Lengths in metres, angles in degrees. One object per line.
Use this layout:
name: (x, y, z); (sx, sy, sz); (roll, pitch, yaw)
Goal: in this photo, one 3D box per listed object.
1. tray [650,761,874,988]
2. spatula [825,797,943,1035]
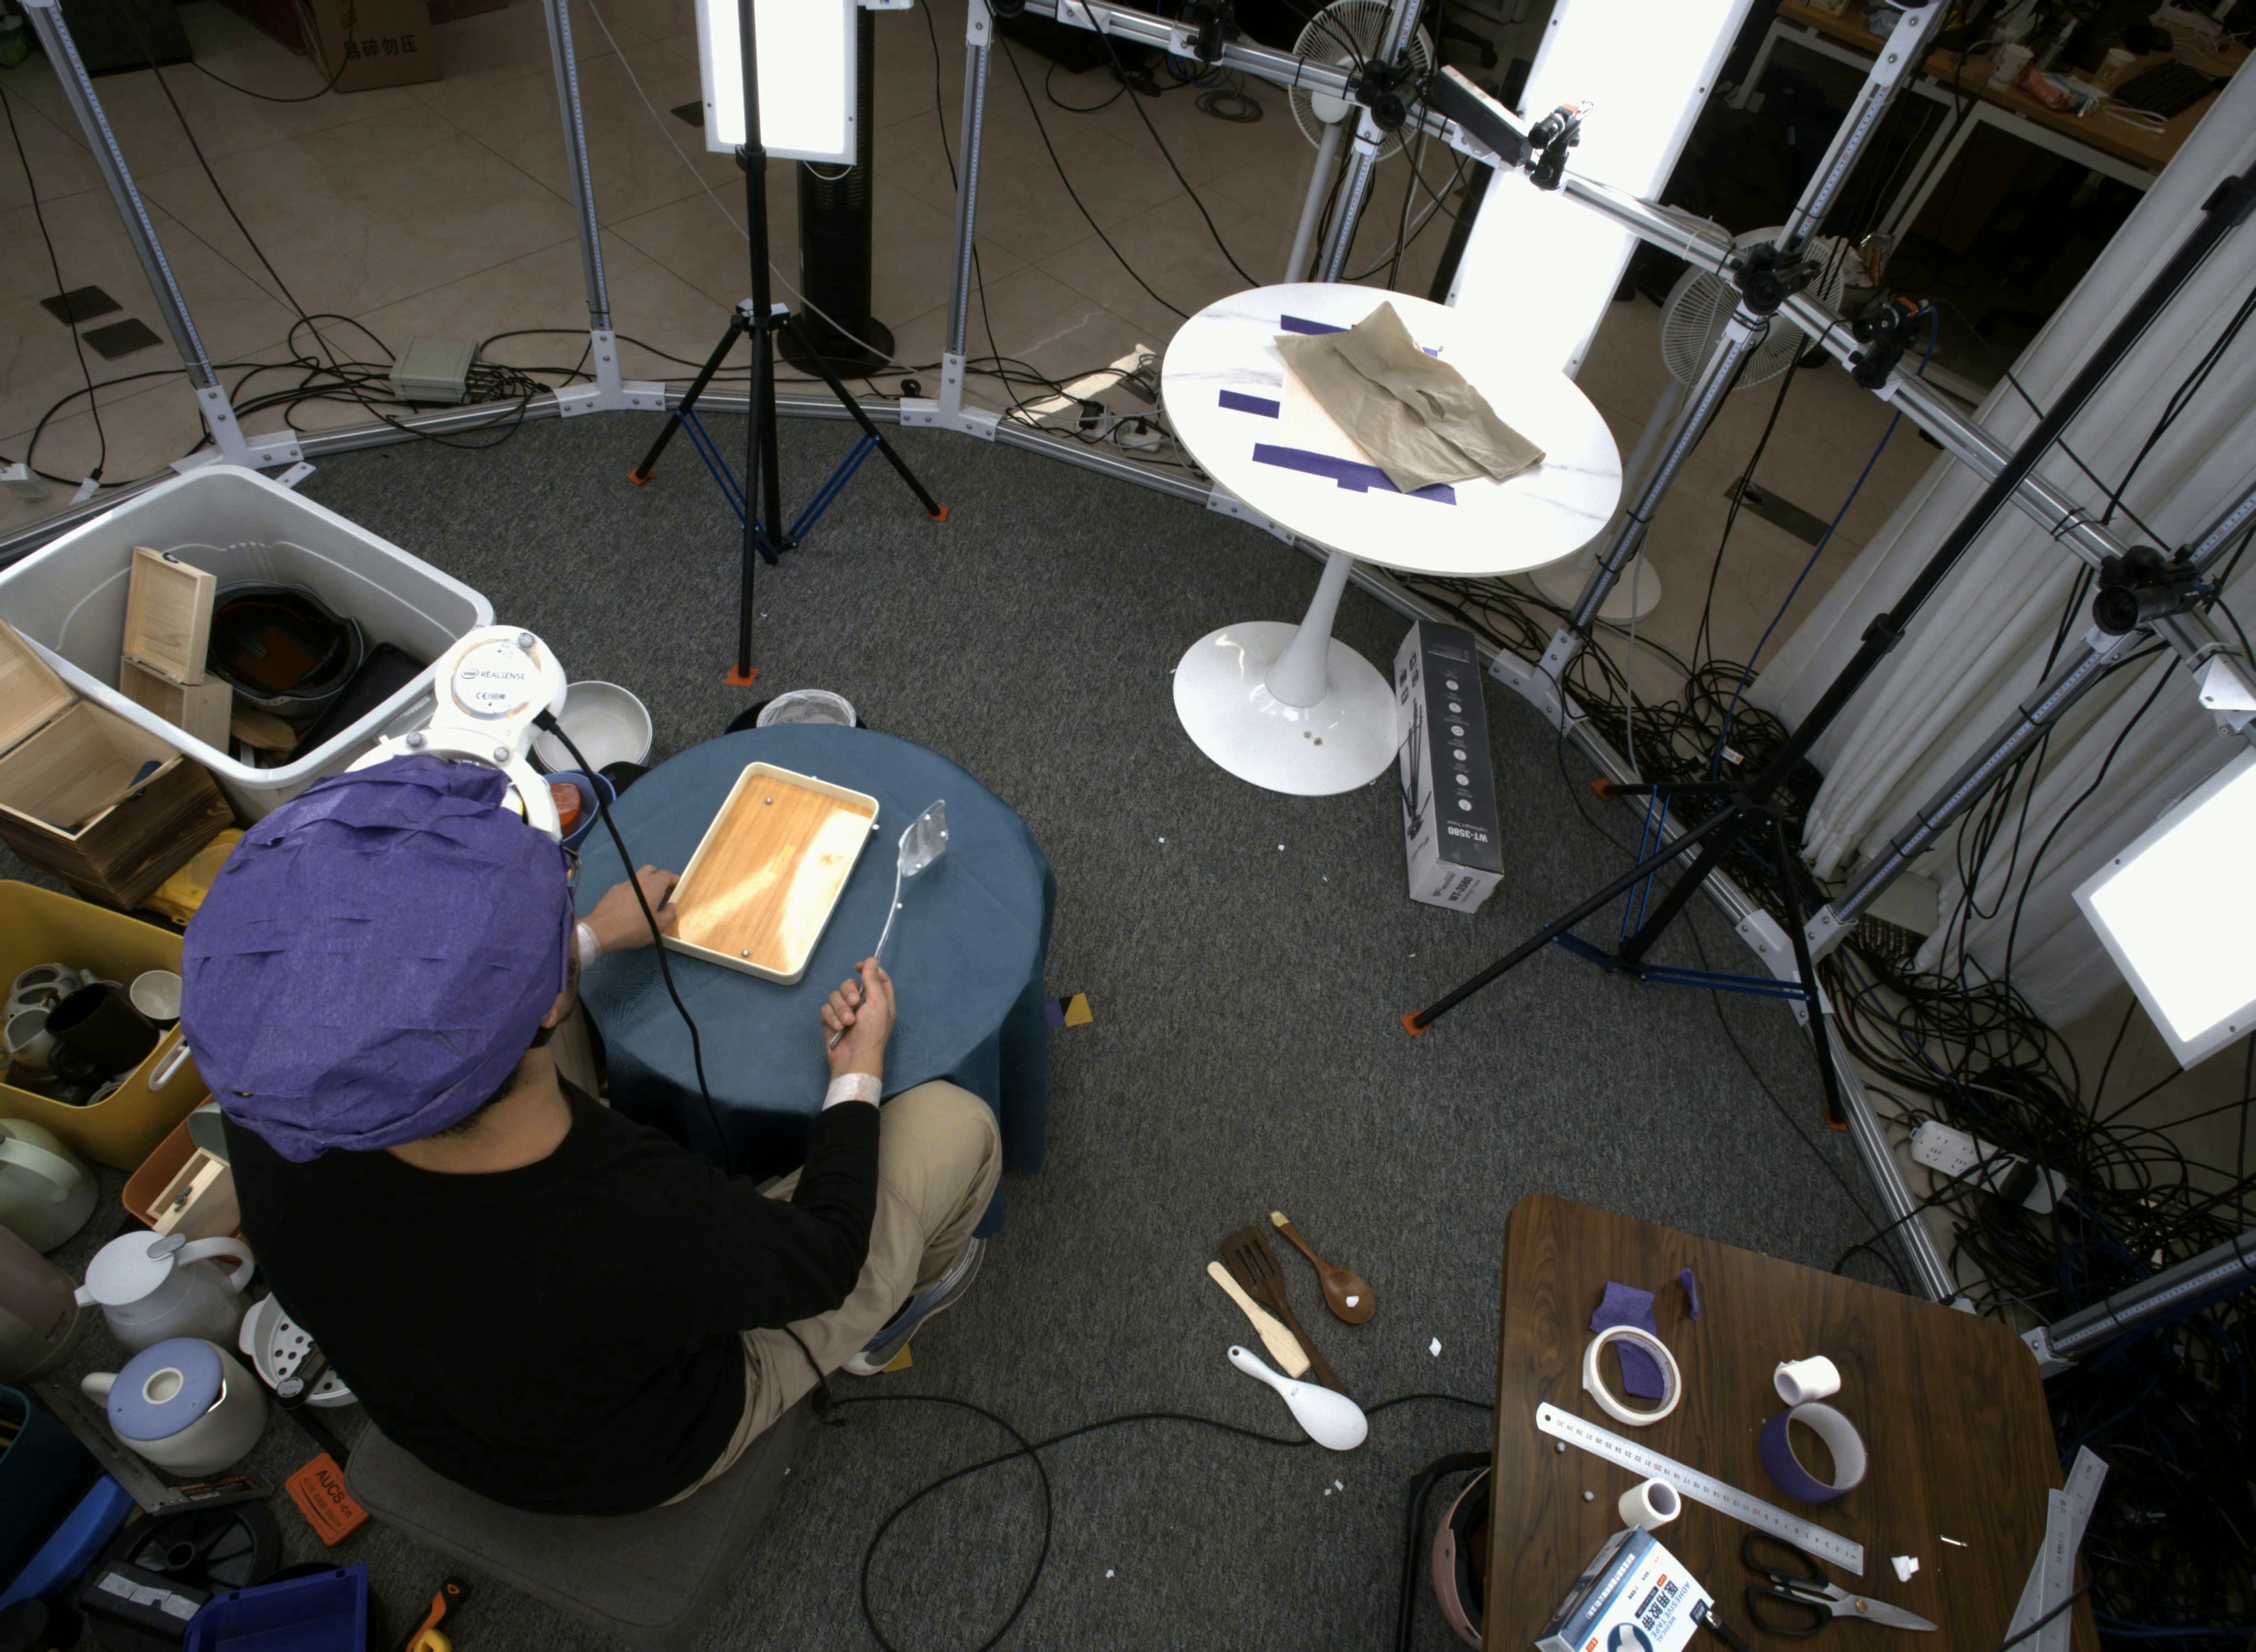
tray: (-0.460, 0.054, 1.650); (0.190, 0.028, 0.297); (18, 52, -2)
spatula: (-0.292, 0.112, 1.587); (0.044, 0.101, 0.359); (10, 48, 2)
